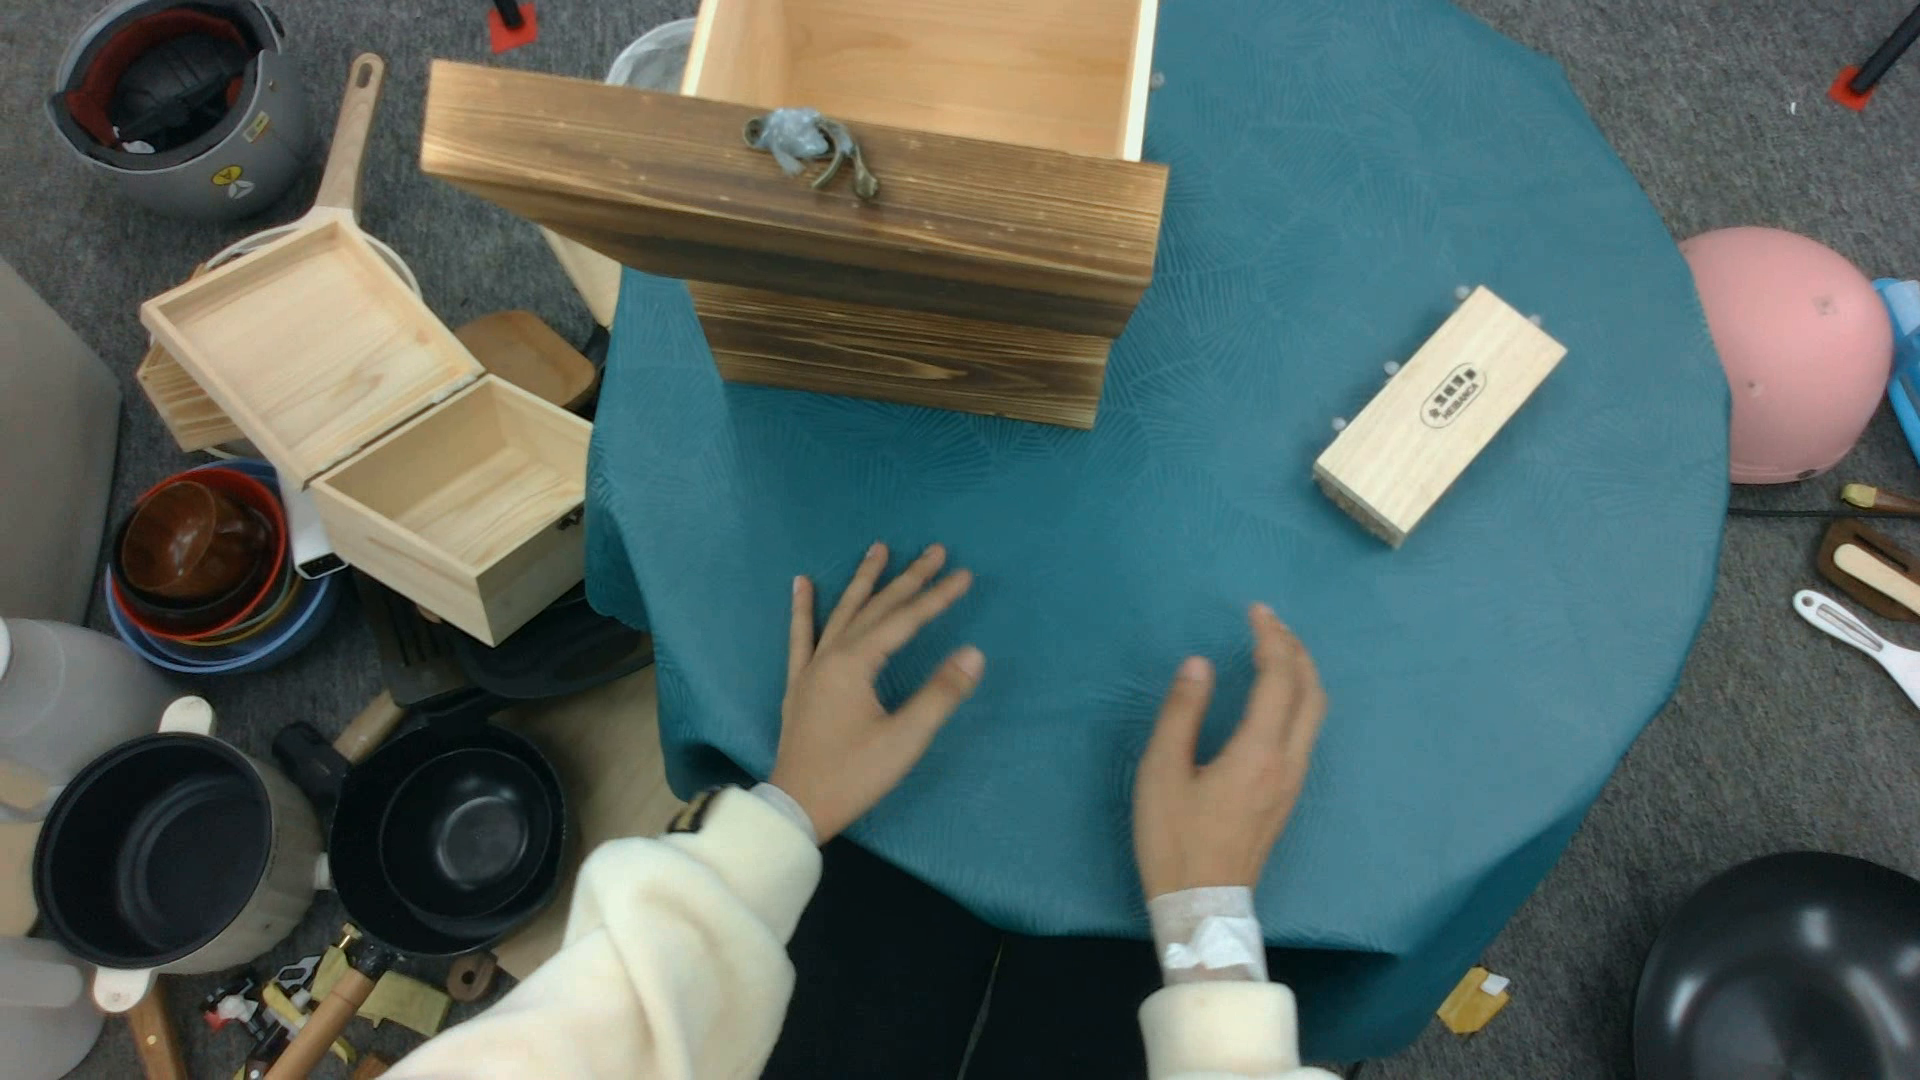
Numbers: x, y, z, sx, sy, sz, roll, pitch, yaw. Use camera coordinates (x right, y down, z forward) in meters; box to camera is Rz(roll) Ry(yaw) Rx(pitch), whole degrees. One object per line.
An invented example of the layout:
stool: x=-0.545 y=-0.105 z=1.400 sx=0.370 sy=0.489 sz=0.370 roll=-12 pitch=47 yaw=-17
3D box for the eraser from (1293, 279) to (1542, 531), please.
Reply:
eraser: x=0.236 y=-0.071 z=0.718 sx=0.057 sy=0.029 sz=0.139 roll=43 pitch=75 yaw=12

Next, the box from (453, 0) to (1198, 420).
box: x=-0.027 y=-0.185 z=0.579 sx=0.209 sy=0.374 sz=0.323 roll=7 pitch=69 yaw=1
